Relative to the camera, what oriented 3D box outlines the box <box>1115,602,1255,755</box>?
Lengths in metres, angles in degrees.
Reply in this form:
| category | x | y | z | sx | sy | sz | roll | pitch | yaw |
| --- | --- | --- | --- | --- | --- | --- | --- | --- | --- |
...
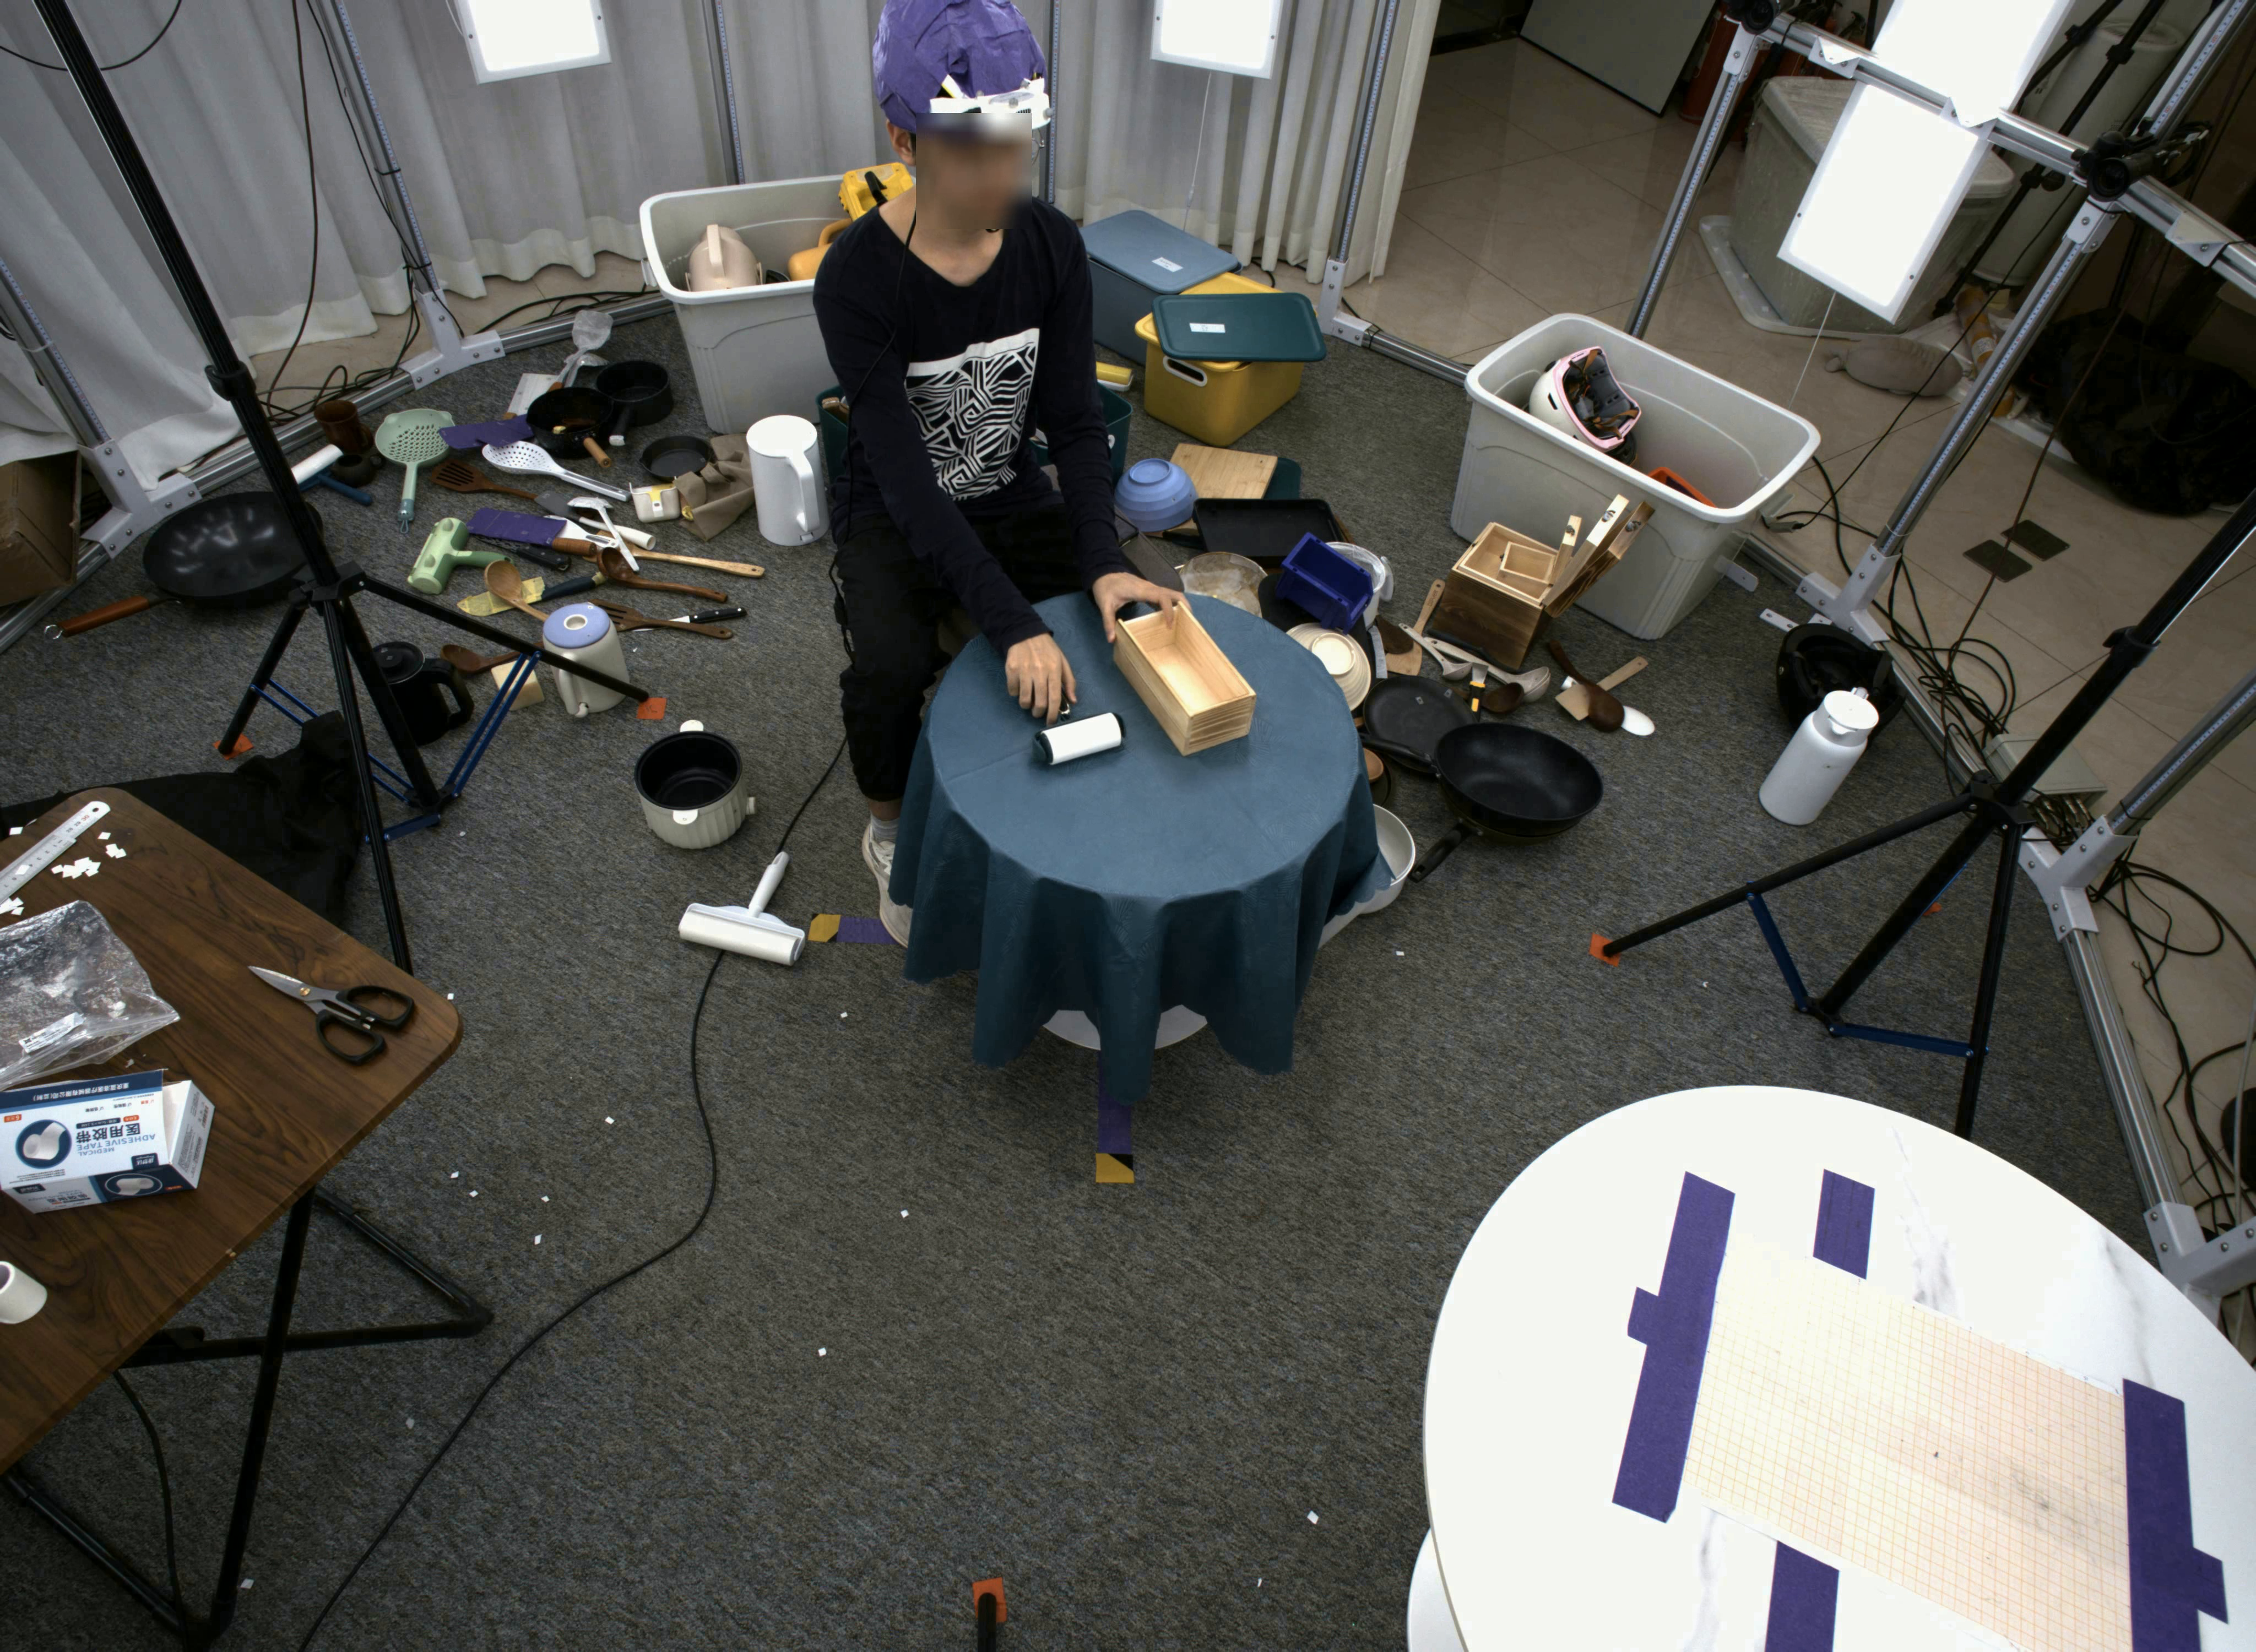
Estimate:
| category | x | y | z | sx | sy | sz | roll | pitch | yaw |
| --- | --- | --- | --- | --- | --- | --- | --- | --- | --- |
| box | 0.077 | -0.209 | 1.803 | 0.108 | 0.078 | 0.216 | -20 | 52 | -19 |

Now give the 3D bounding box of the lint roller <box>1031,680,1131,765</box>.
| category | x | y | z | sx | sy | sz | roll | pitch | yaw |
| --- | --- | --- | --- | --- | --- | --- | --- | --- | --- |
| lint roller | -0.092 | -0.163 | 1.778 | 0.134 | 0.047 | 0.184 | -17 | 48 | -17 |
